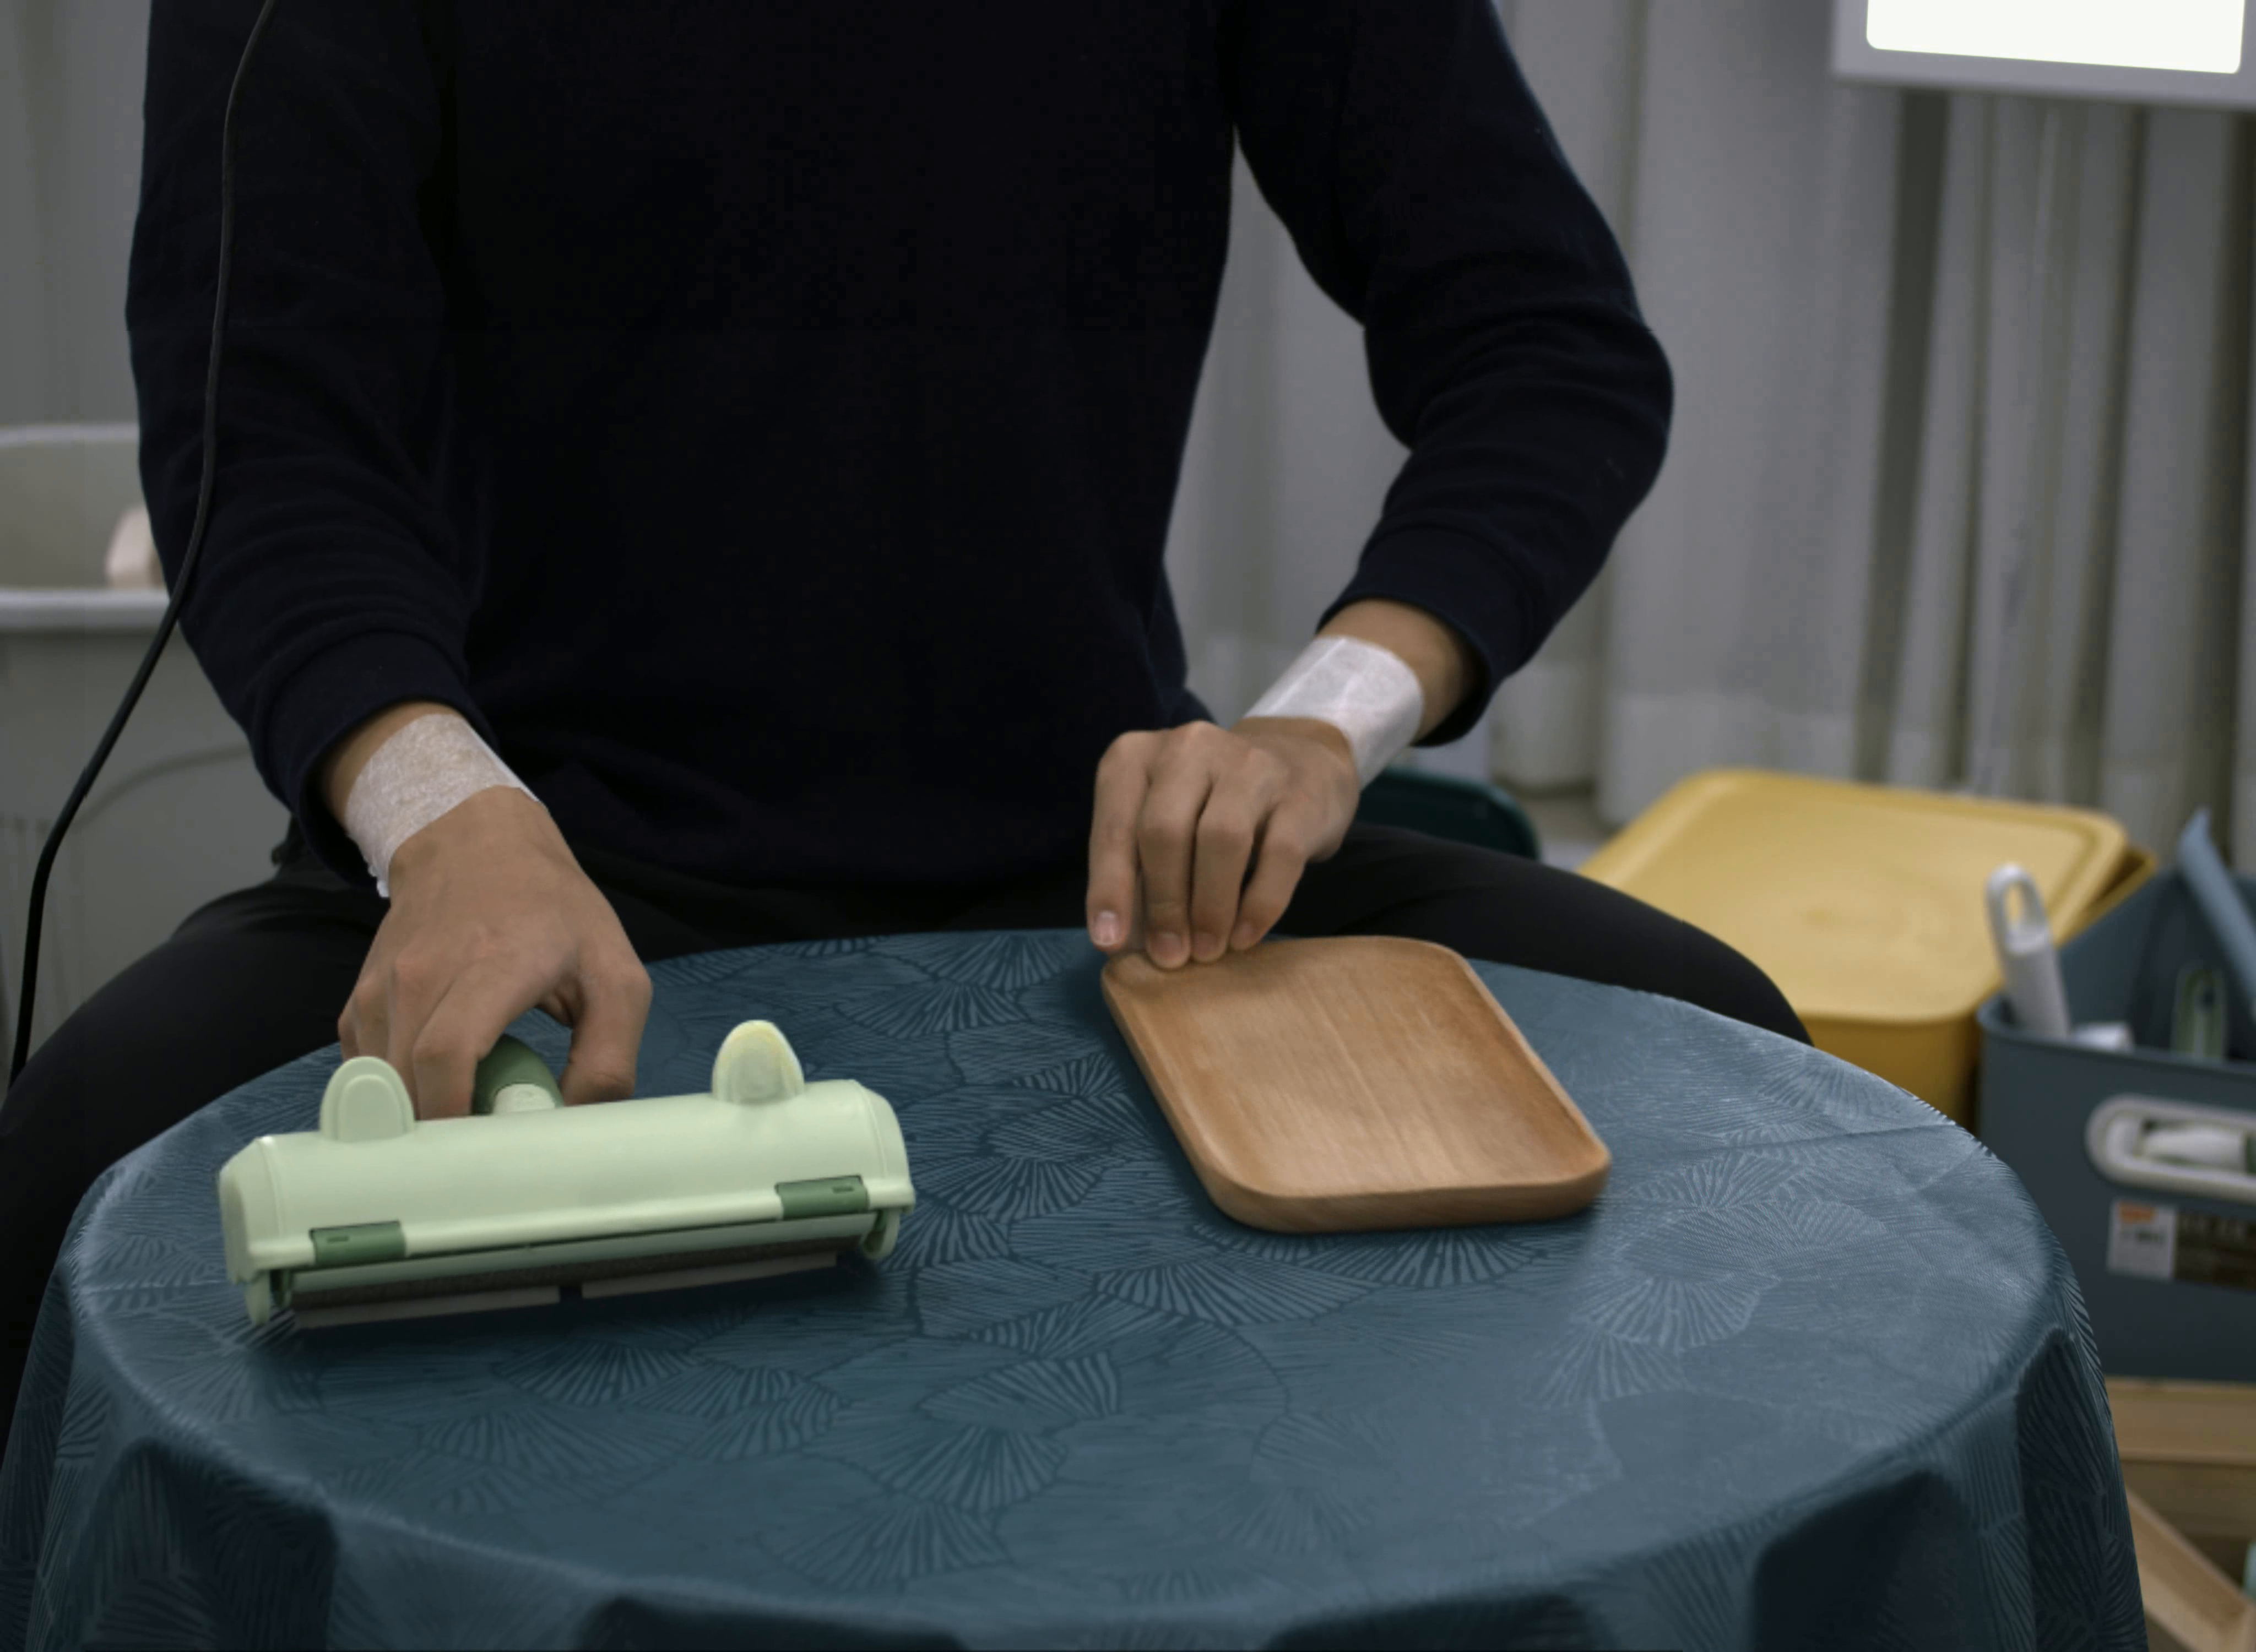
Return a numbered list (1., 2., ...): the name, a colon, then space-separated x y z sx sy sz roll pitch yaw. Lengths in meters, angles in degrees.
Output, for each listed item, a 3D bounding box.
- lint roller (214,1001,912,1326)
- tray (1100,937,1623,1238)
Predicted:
1. lint roller: -0.180 0.076 1.563 0.199 0.083 0.181 -5 29 -19
2. tray: 0.071 0.081 1.697 0.130 0.023 0.248 0 16 -10
